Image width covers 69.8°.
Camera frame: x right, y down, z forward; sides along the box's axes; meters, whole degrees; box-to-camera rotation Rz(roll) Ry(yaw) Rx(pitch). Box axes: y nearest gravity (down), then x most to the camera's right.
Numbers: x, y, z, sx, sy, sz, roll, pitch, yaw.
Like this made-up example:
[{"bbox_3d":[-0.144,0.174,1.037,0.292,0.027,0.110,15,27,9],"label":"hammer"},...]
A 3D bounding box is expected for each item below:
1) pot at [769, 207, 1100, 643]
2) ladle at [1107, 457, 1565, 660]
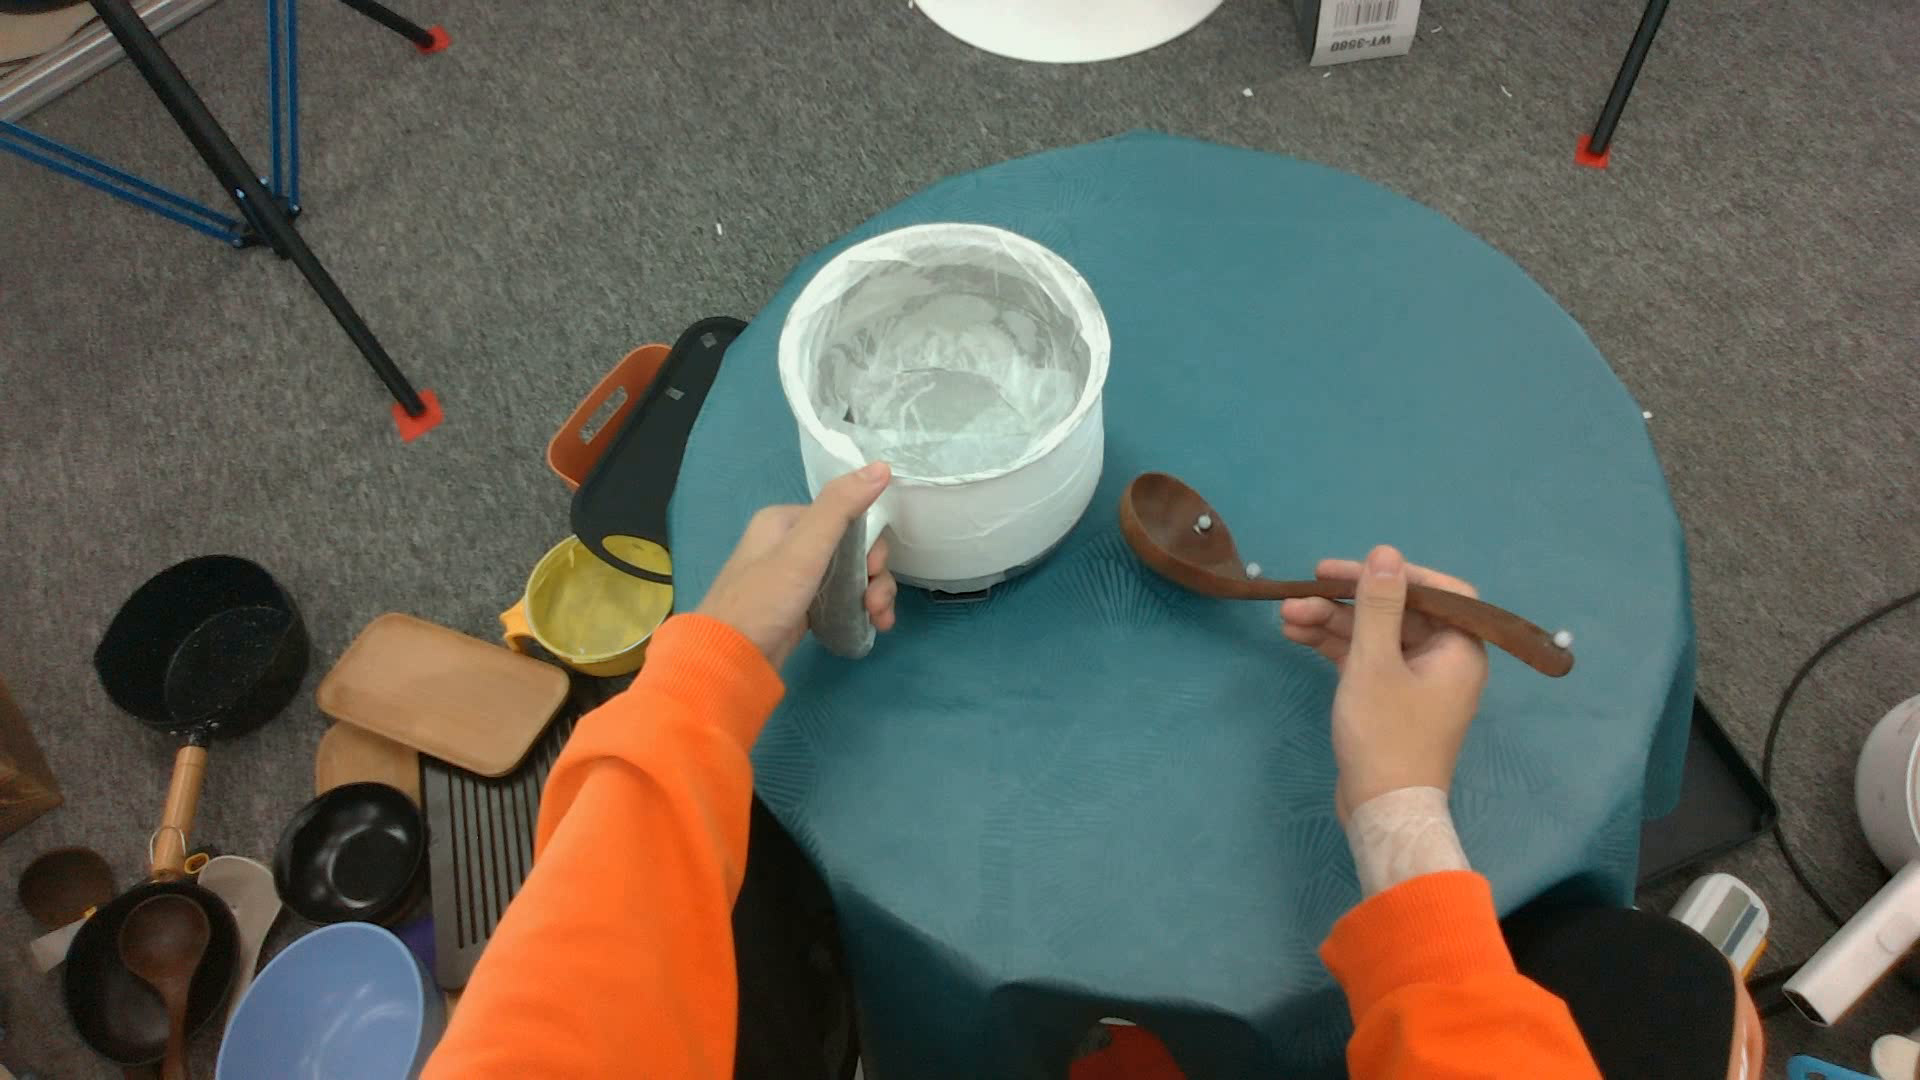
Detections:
[{"bbox_3d":[-0.023,-0.058,0.773,0.178,0.136,0.235,21,62,15],"label":"pot"},{"bbox_3d":[0.187,0.004,0.720,0.077,0.065,0.260,-12,18,-43],"label":"ladle"}]
